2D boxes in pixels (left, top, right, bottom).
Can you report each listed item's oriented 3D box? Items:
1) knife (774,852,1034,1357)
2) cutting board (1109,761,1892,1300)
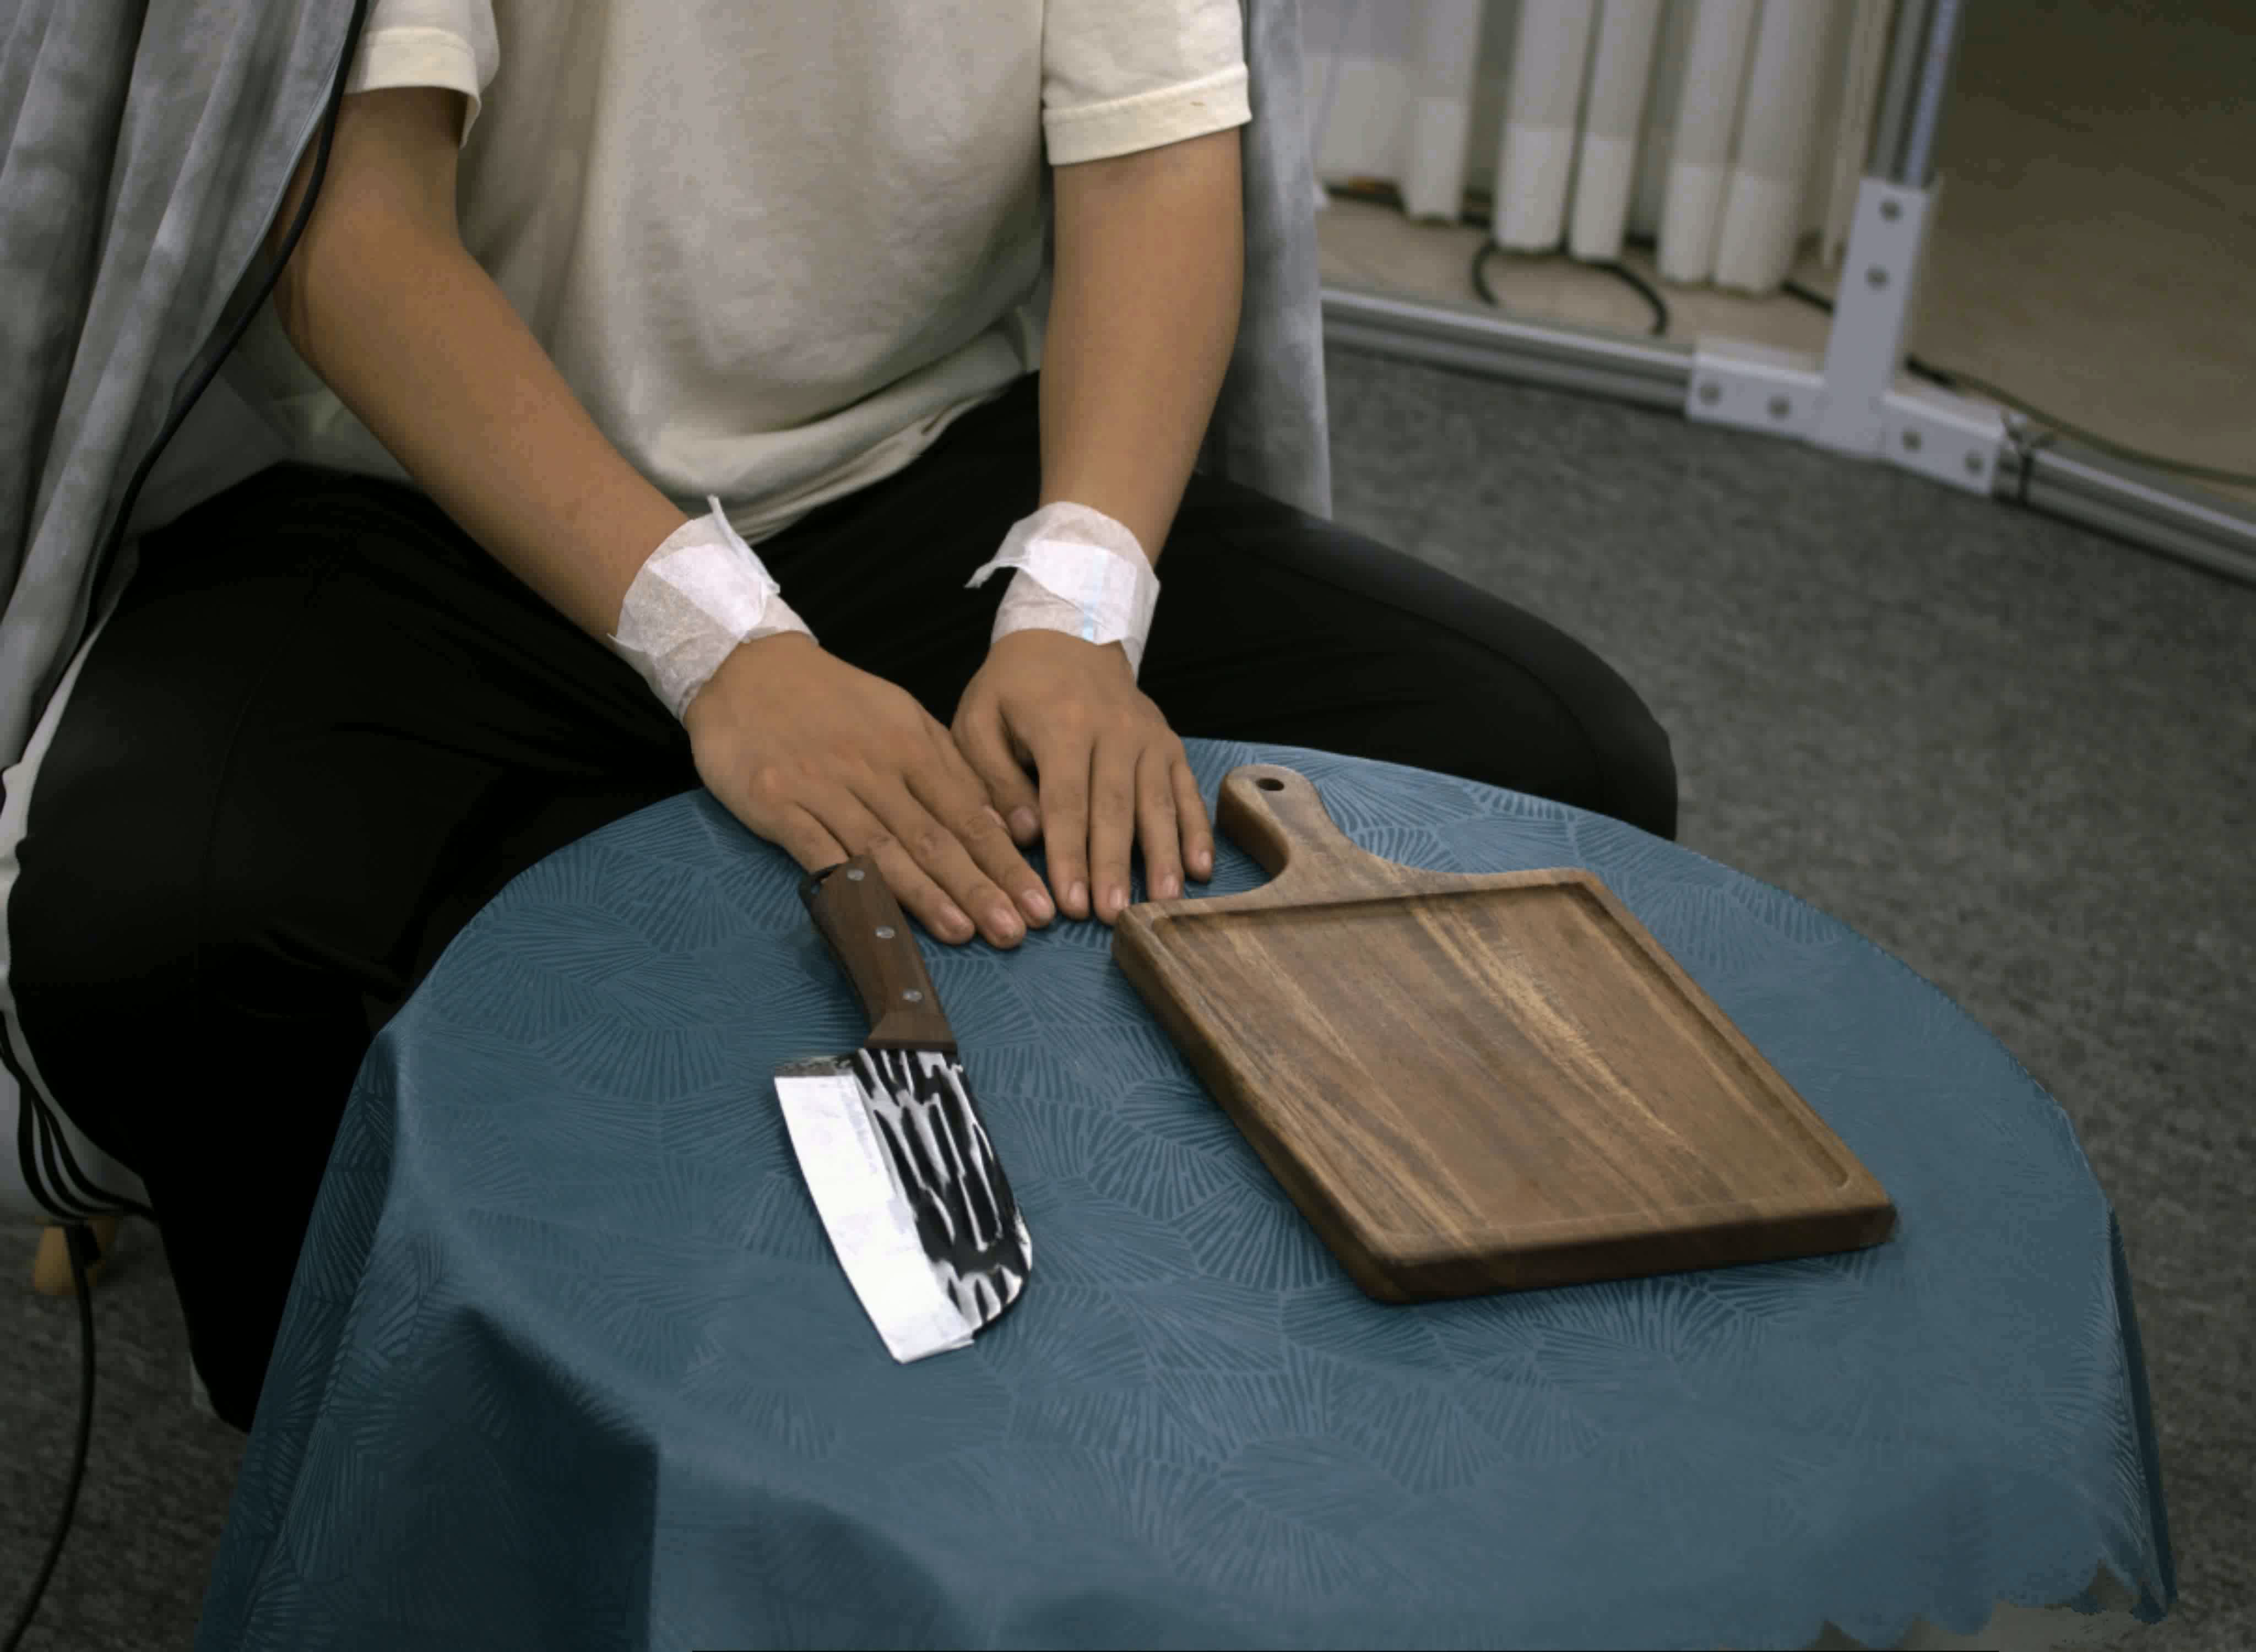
[{"bbox_3d":[-0.084,0.093,1.826,0.068,0.024,0.302,-3,31,-13],"label":"knife"},{"bbox_3d":[0.110,0.063,1.926,0.200,0.023,0.355,-5,28,-21],"label":"cutting board"}]
